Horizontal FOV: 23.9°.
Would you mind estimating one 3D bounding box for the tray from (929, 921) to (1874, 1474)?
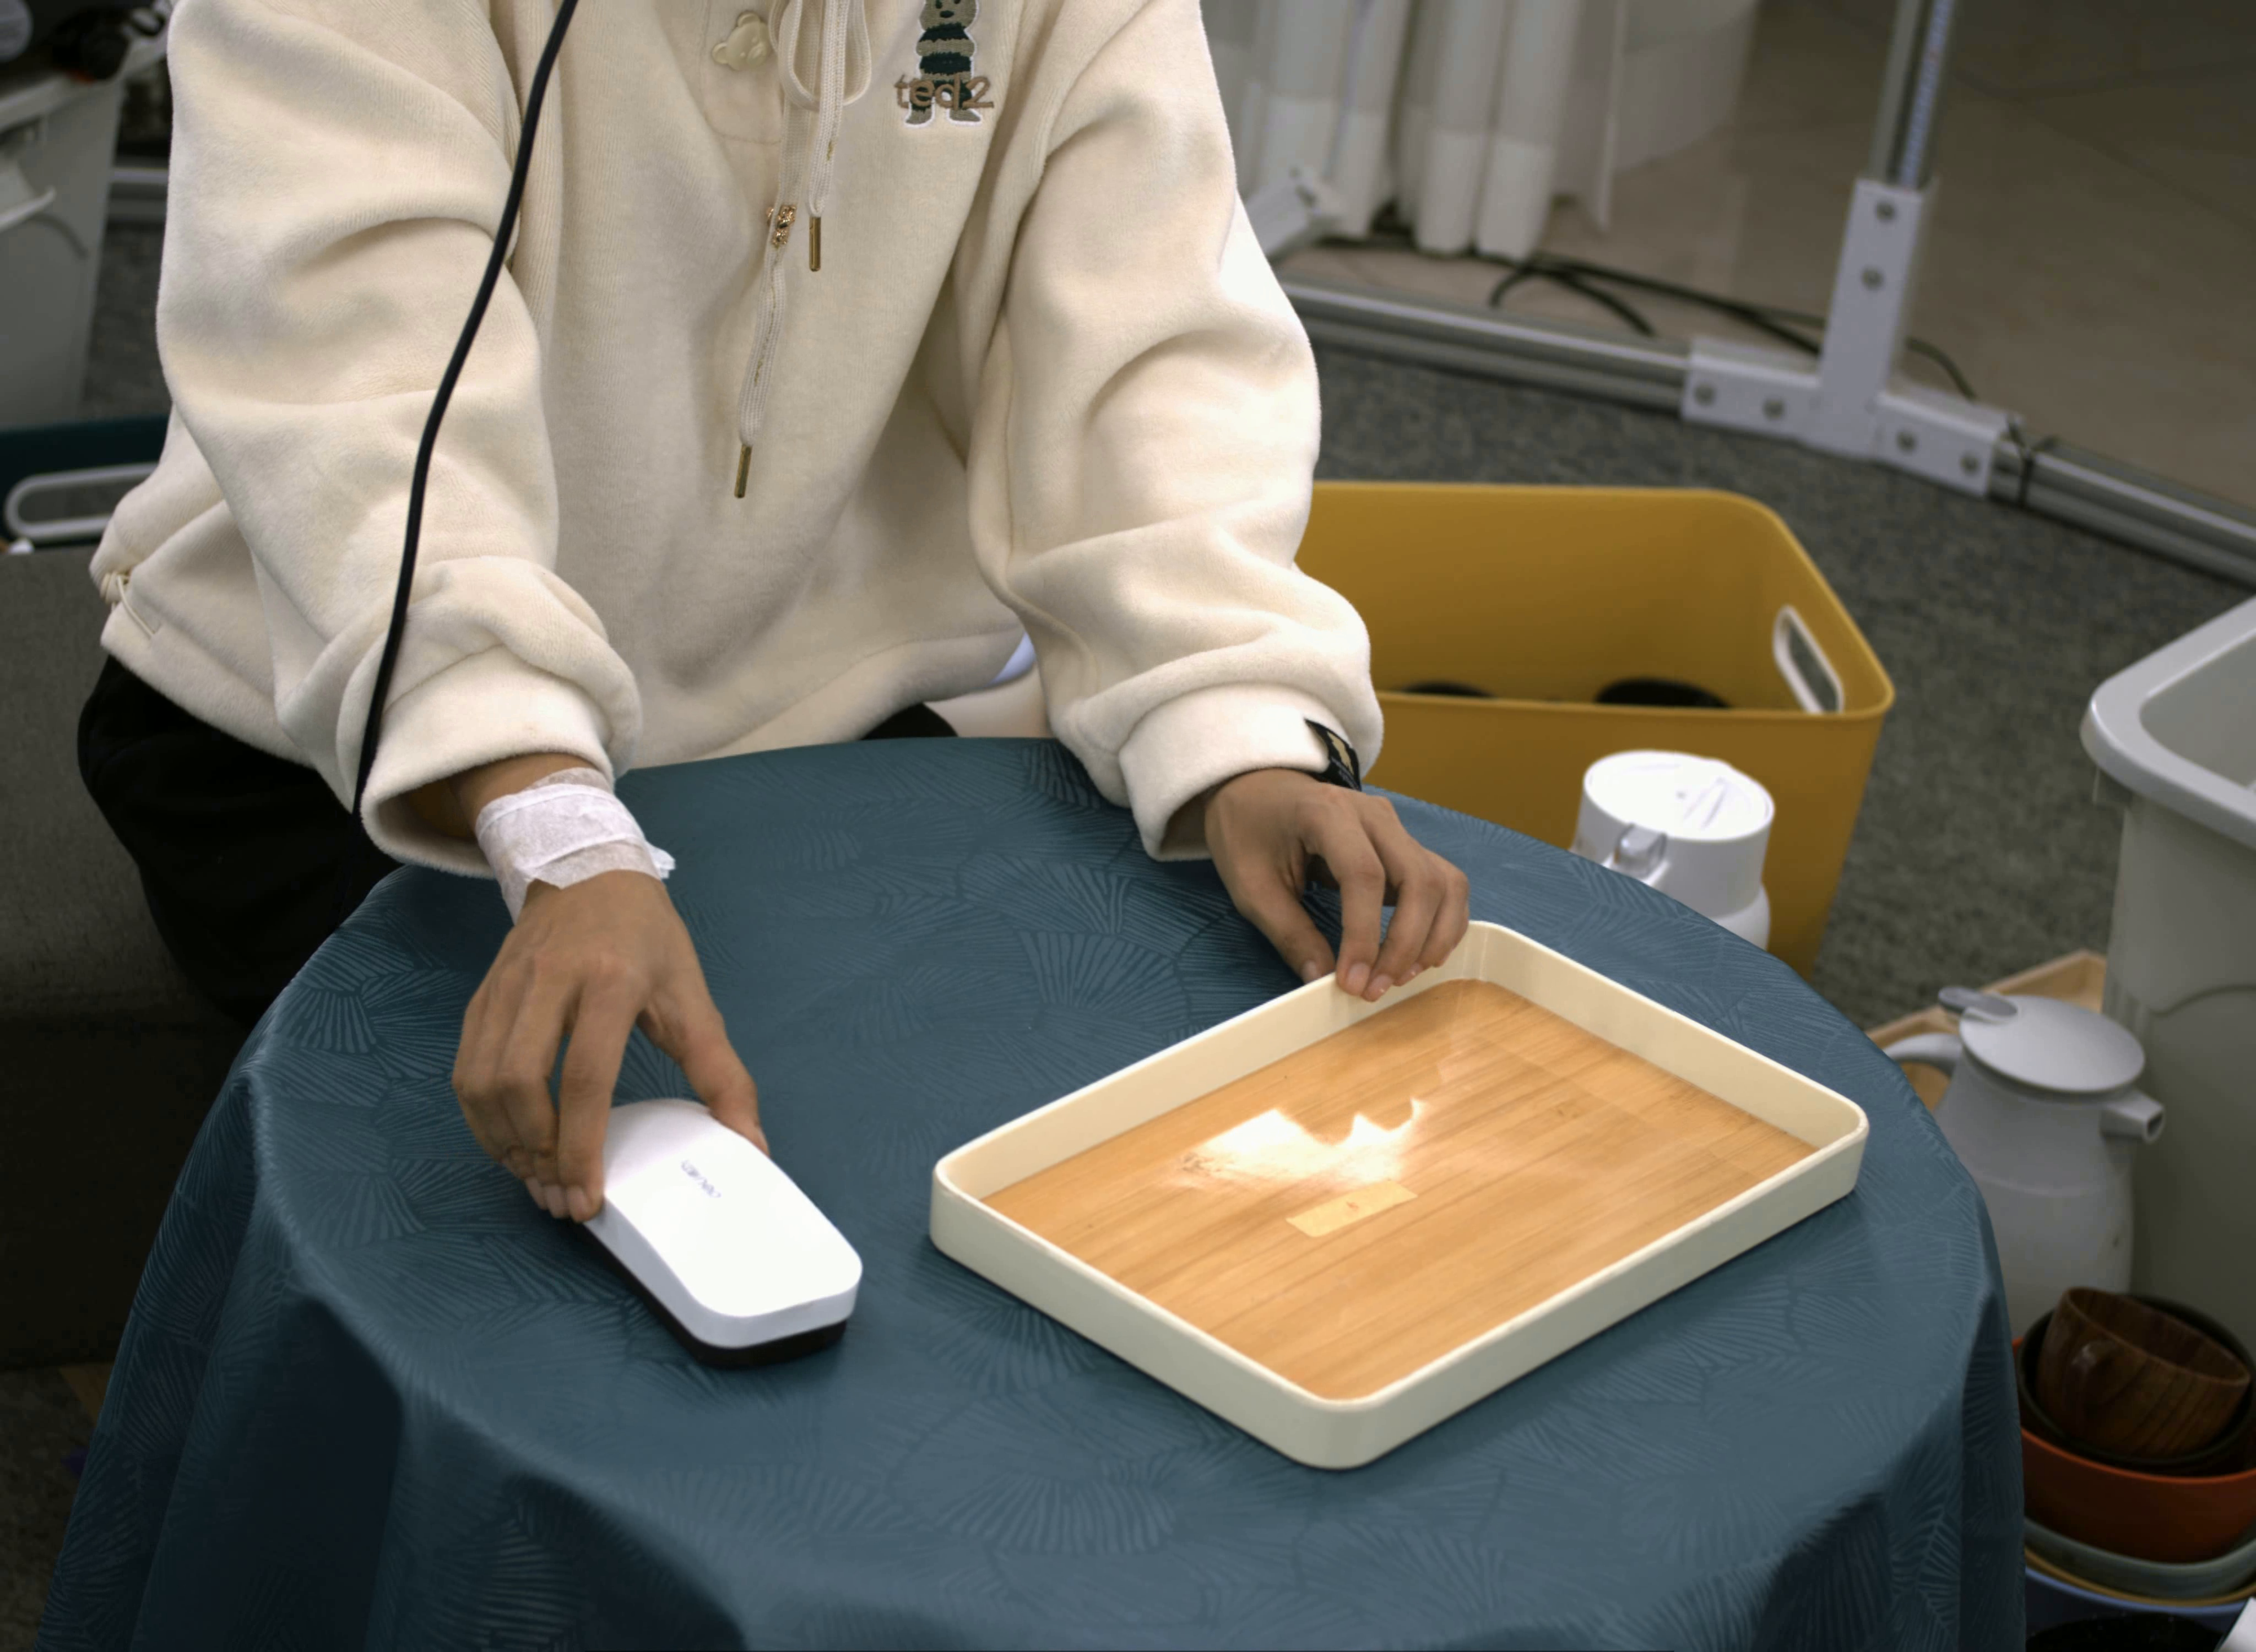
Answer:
[{"bbox_3d":[0.096,0.119,1.802,0.193,0.027,0.299,28,34,35],"label":"tray"}]

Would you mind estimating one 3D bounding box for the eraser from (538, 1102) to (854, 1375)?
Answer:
[{"bbox_3d":[-0.140,0.130,1.725,0.063,0.034,0.132,-11,32,-29],"label":"eraser"}]
